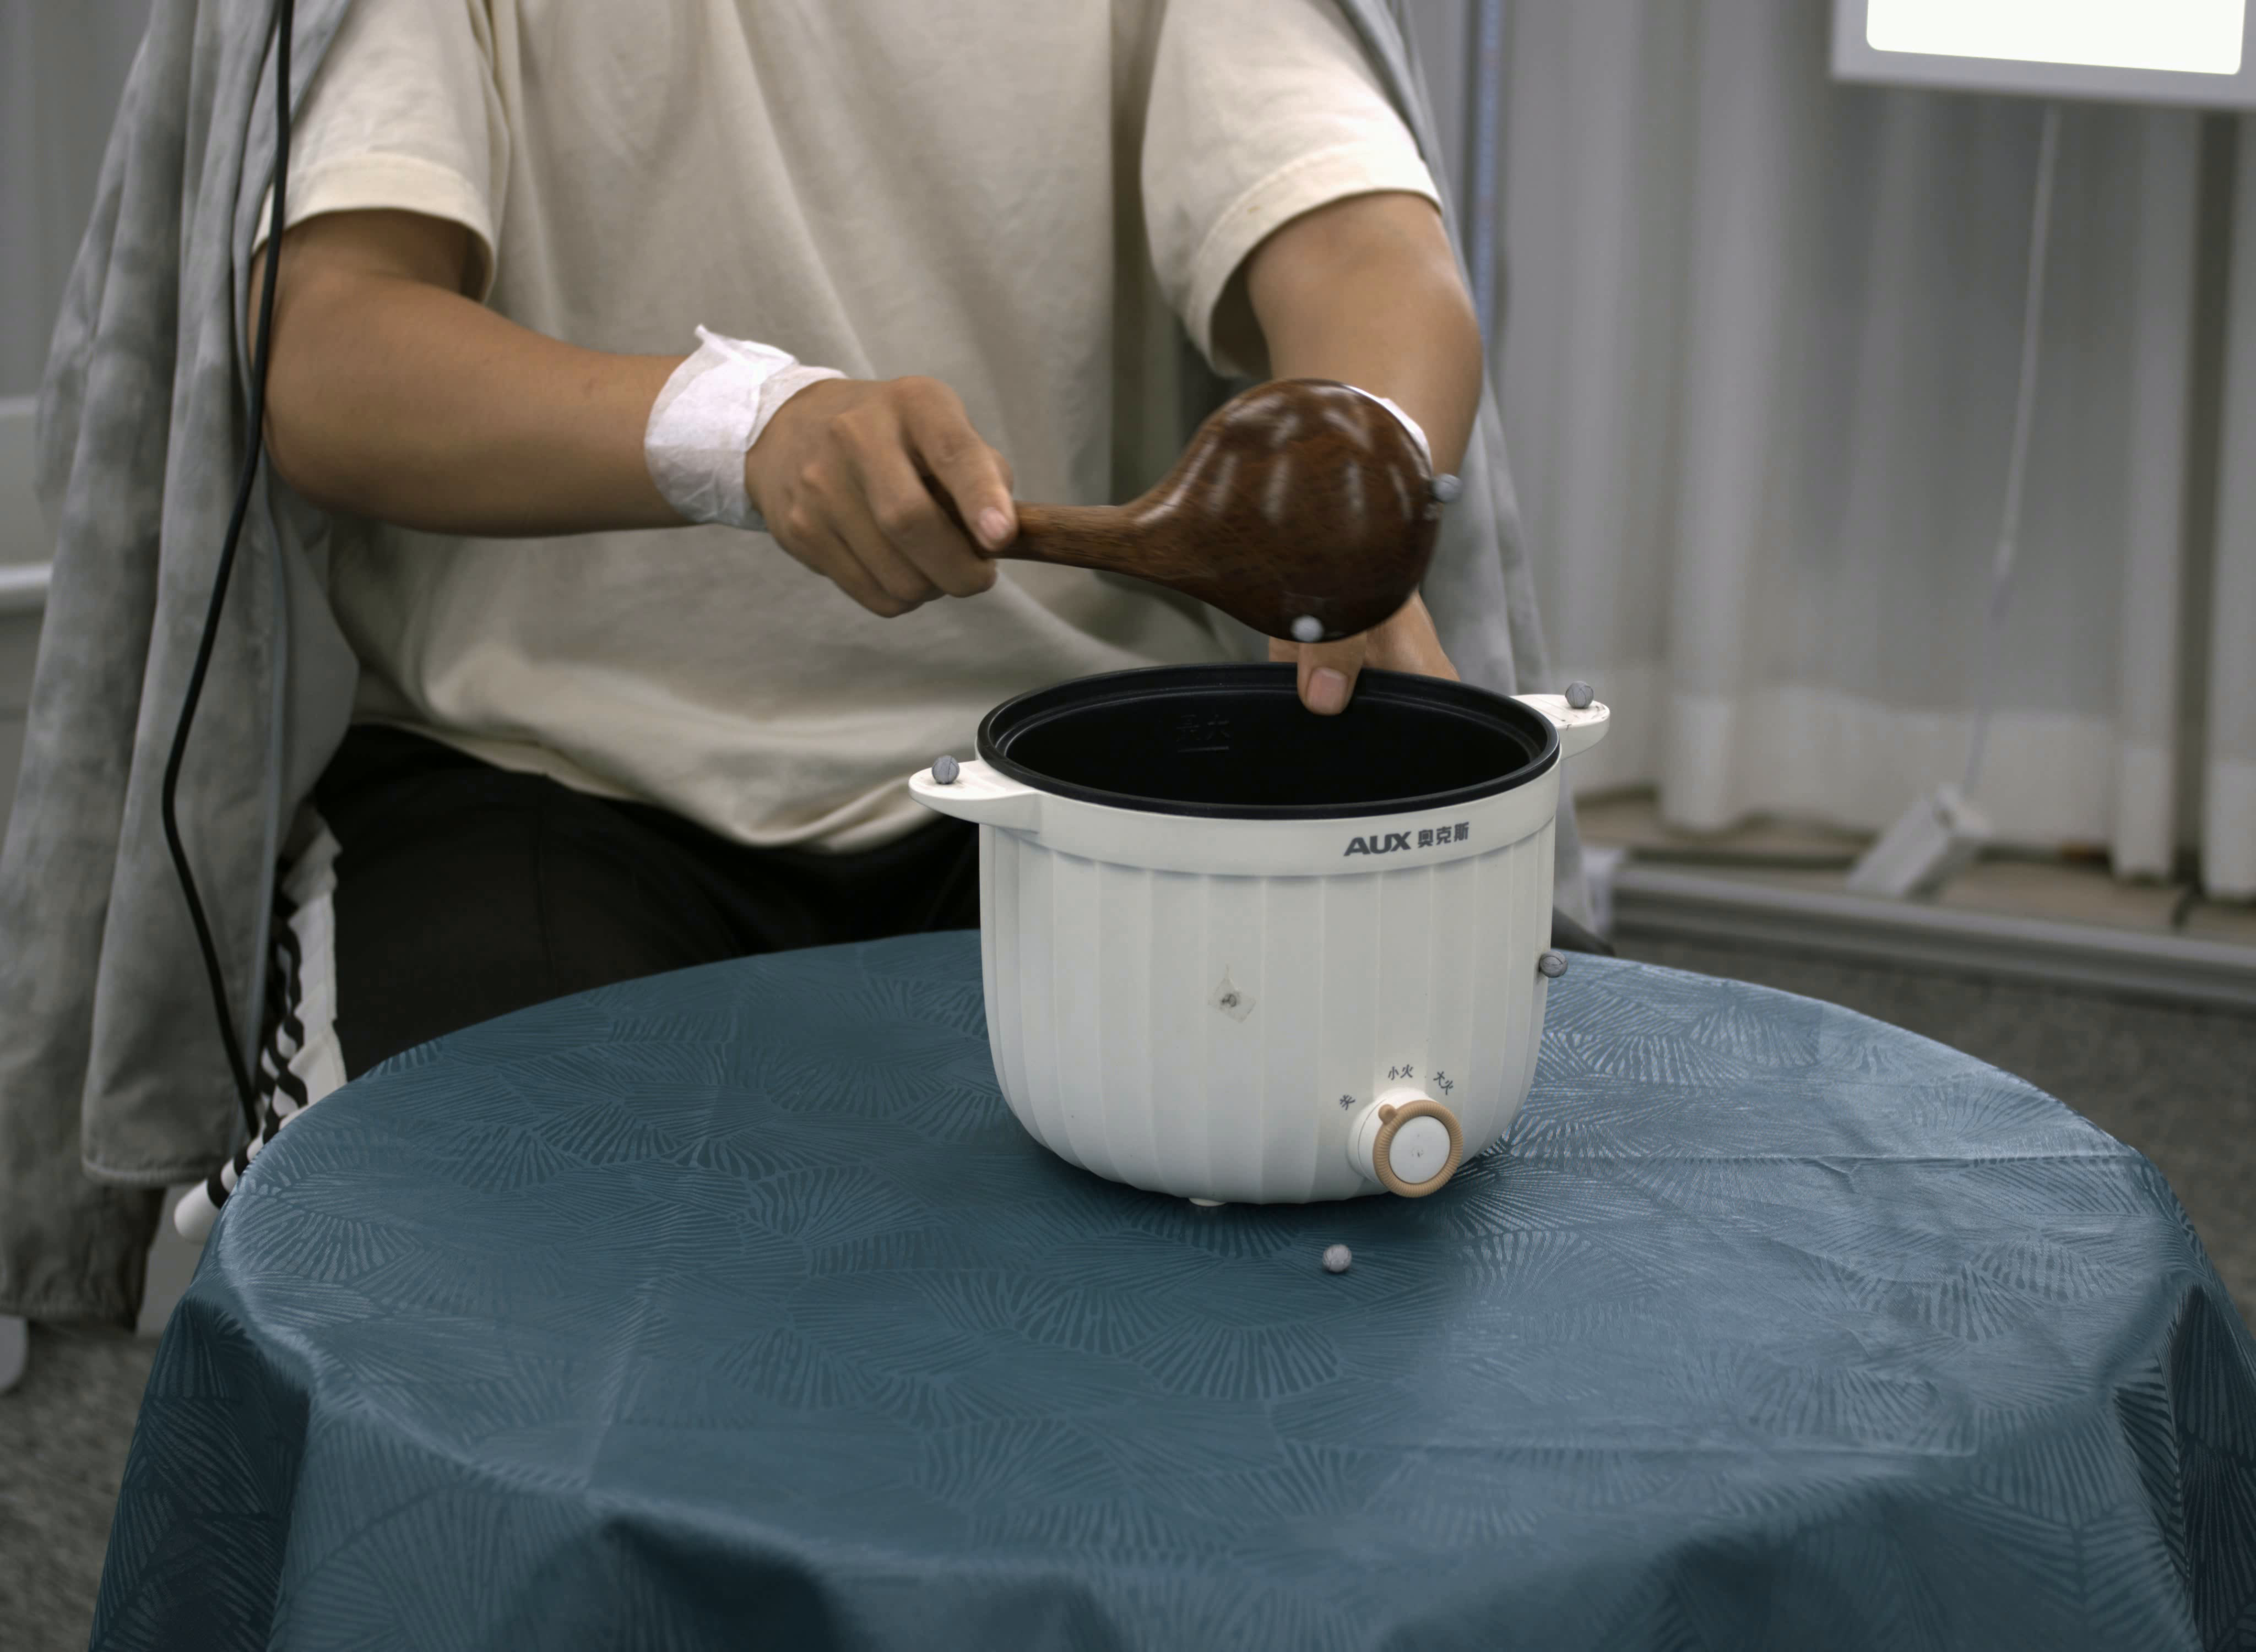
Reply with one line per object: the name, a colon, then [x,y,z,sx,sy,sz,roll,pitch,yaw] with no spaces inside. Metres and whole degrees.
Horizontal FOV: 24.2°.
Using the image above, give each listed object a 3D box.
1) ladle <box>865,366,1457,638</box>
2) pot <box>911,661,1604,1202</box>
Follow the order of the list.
ladle: [0.007,-0.100,1.671,0.077,0.082,0.271,-14,9,-27]
pot: [0.047,0.035,1.645,0.241,0.144,0.188,-9,15,-26]
